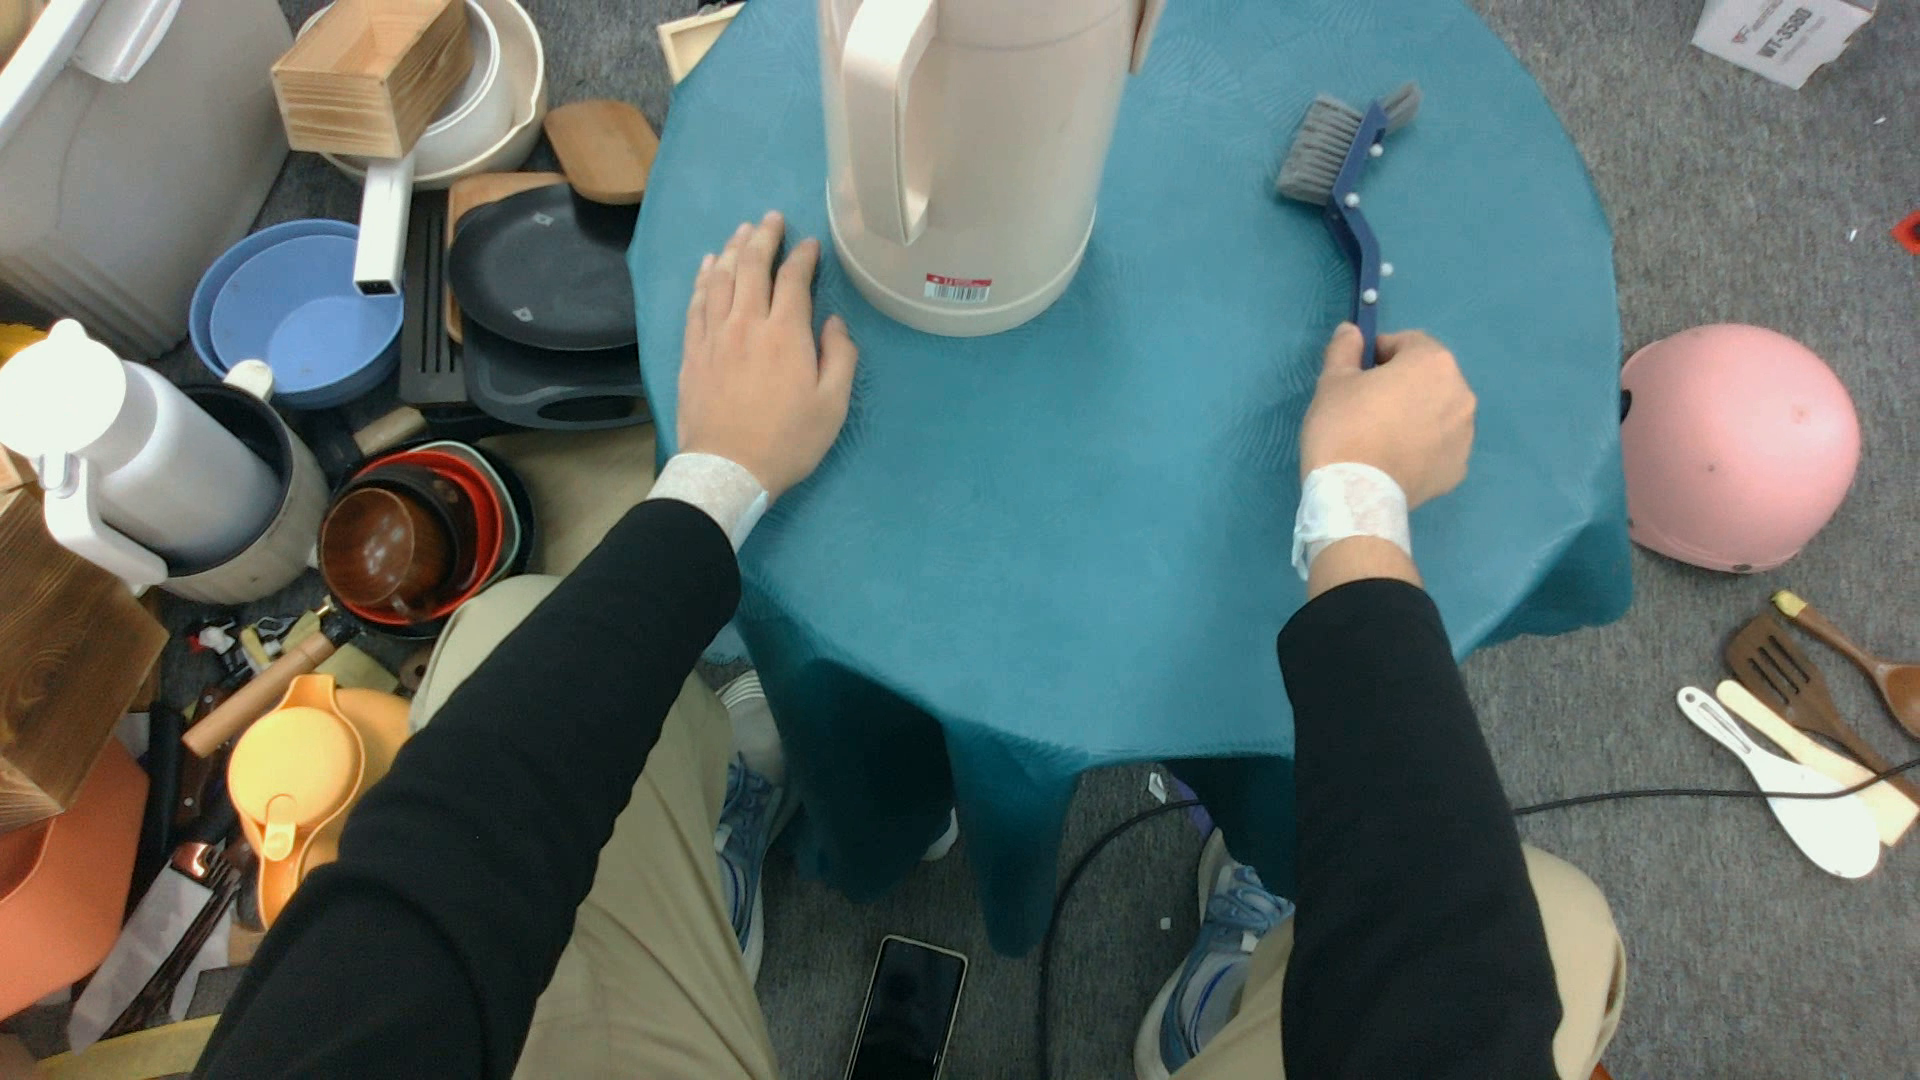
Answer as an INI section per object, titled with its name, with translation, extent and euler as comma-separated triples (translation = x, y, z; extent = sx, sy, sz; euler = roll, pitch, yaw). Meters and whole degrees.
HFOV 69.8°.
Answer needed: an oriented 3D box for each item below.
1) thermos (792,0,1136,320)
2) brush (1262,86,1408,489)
[thermos]
translation = -0.009, -0.251, 0.646
extent = 0.175, 0.405, 0.207
euler = 24, 72, 2
[brush]
translation = 0.234, -0.159, 0.817
extent = 0.096, 0.033, 0.274
euler = 0, 67, 0
